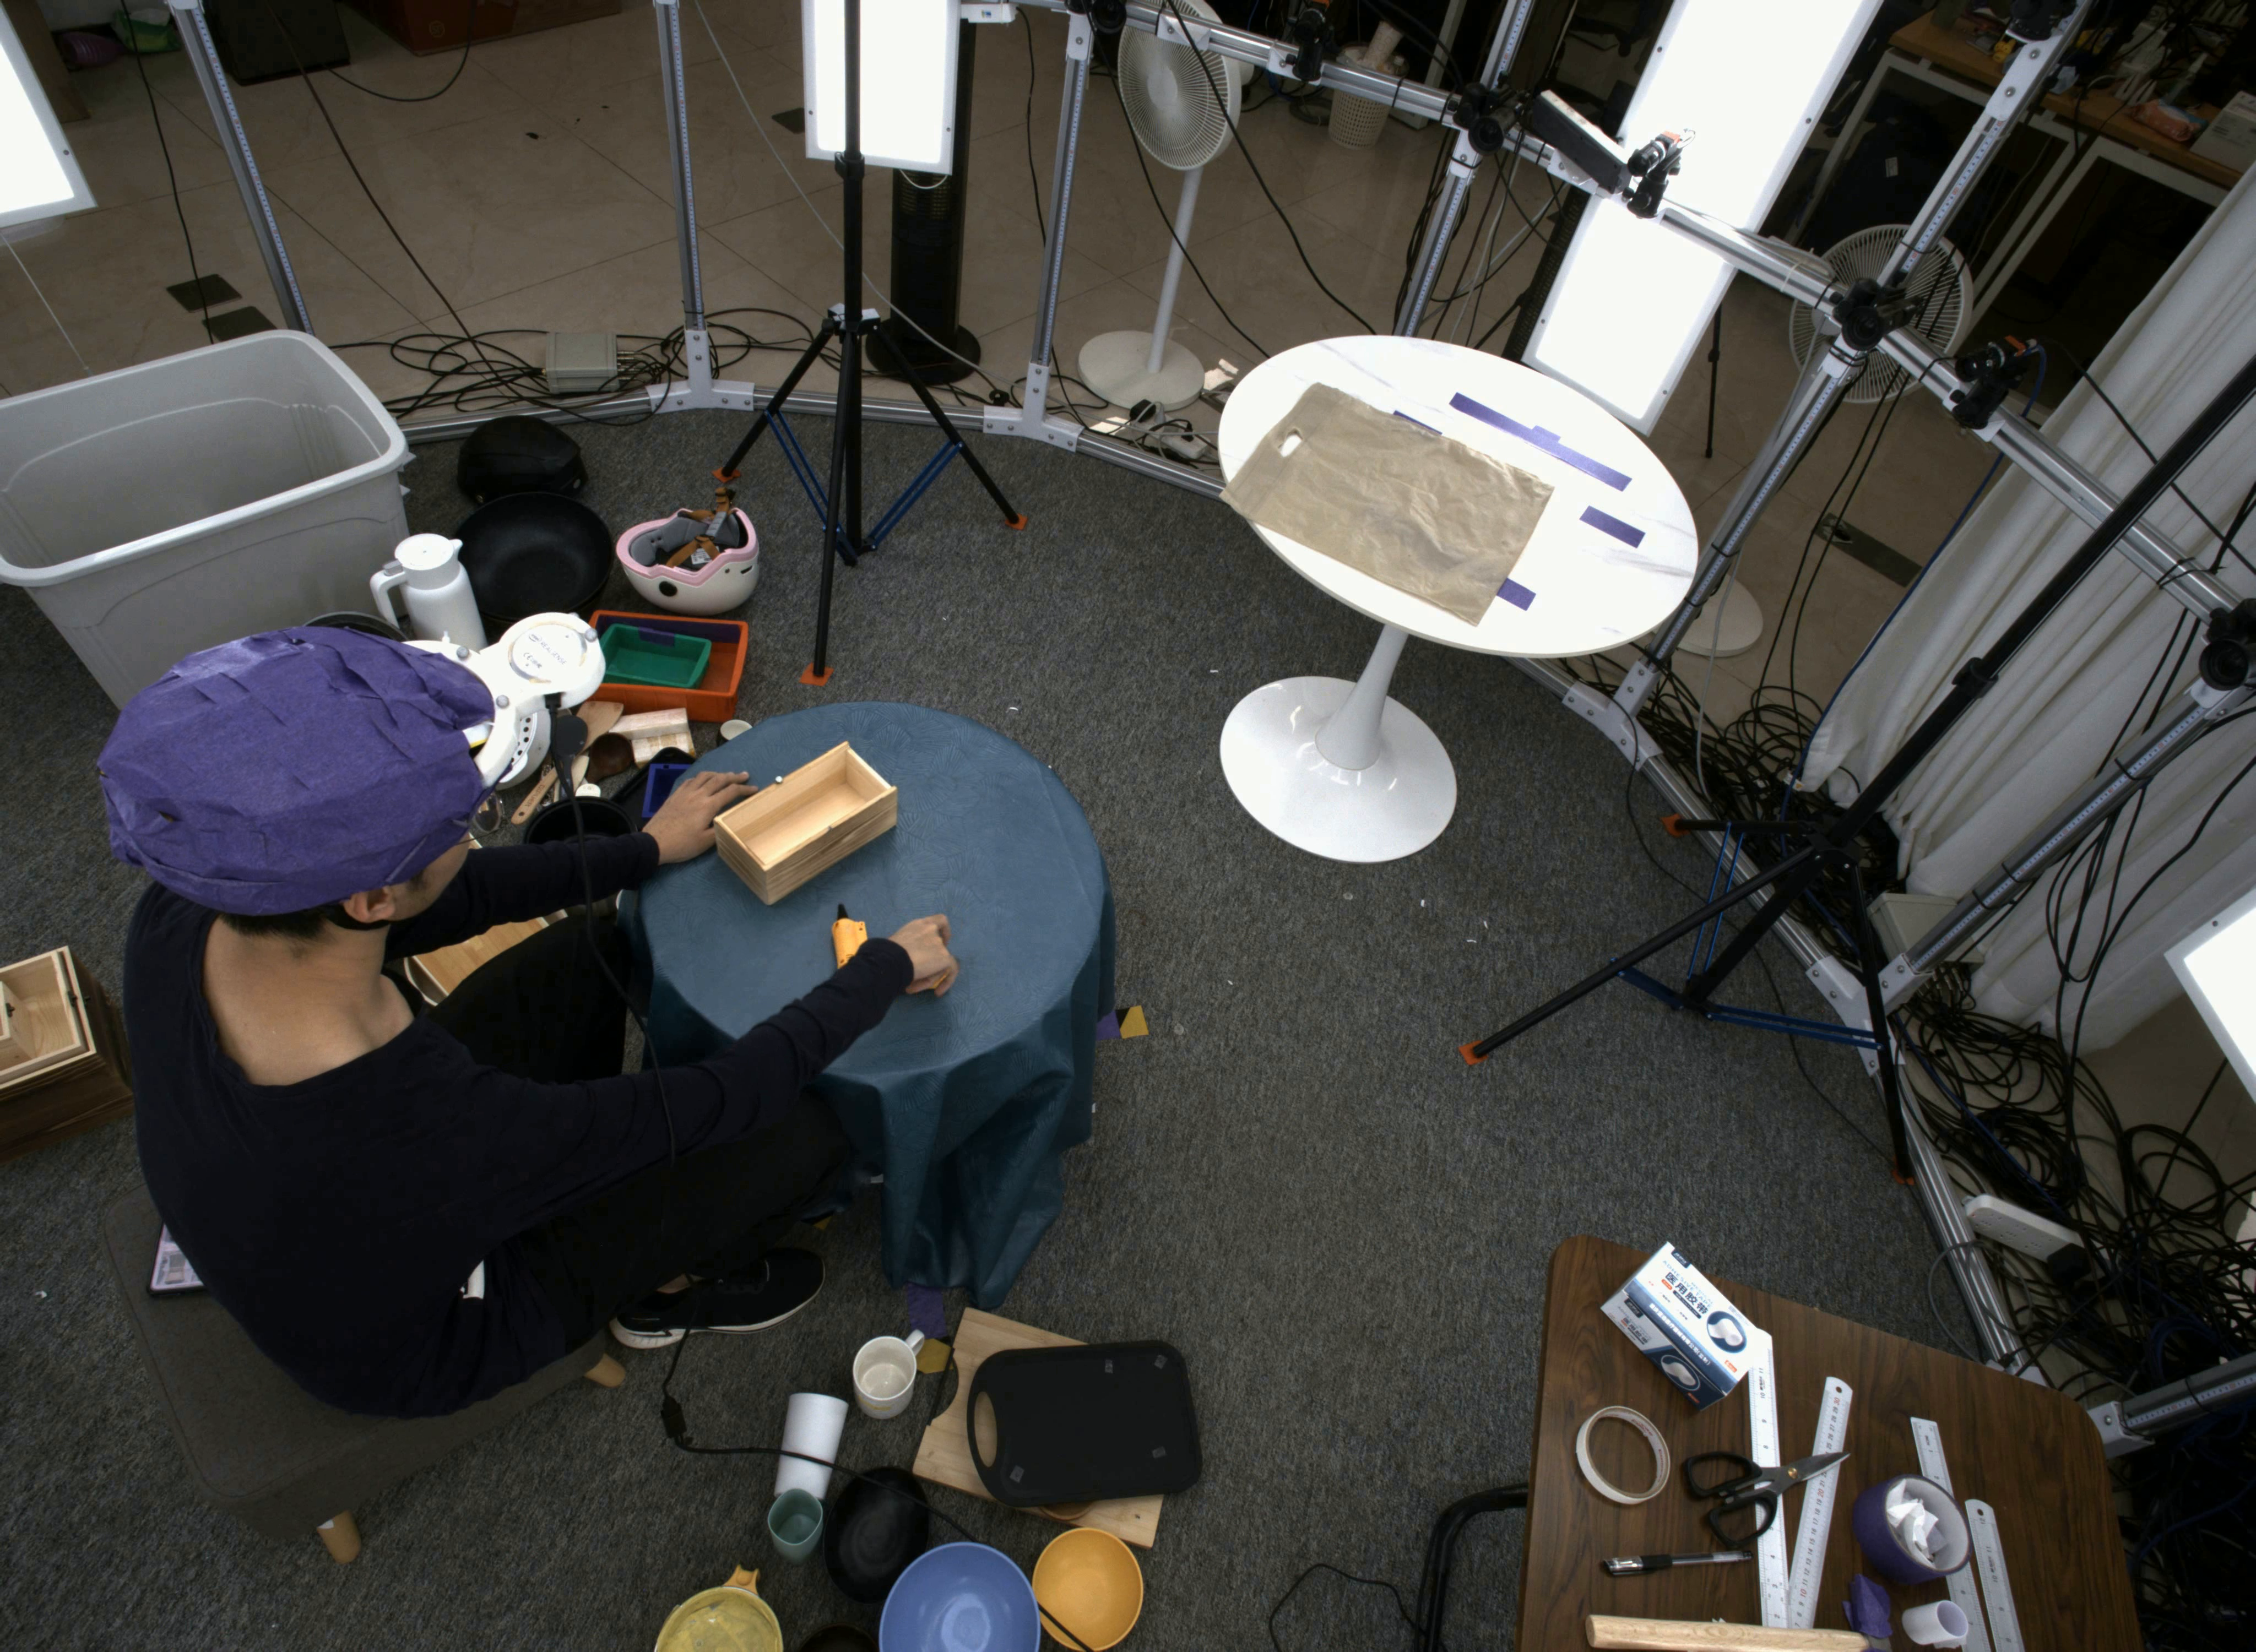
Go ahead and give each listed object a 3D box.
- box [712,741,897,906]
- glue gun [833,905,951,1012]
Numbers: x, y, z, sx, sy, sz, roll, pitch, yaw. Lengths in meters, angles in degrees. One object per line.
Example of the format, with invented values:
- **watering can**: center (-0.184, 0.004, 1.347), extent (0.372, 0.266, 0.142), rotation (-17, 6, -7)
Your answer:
- **box**: center (-0.414, -0.007, 1.675), extent (0.105, 0.082, 0.212), rotation (42, 55, 19)
- **glue gun**: center (-0.303, 0.150, 1.622), extent (0.134, 0.031, 0.148), rotation (-10, 58, -23)
